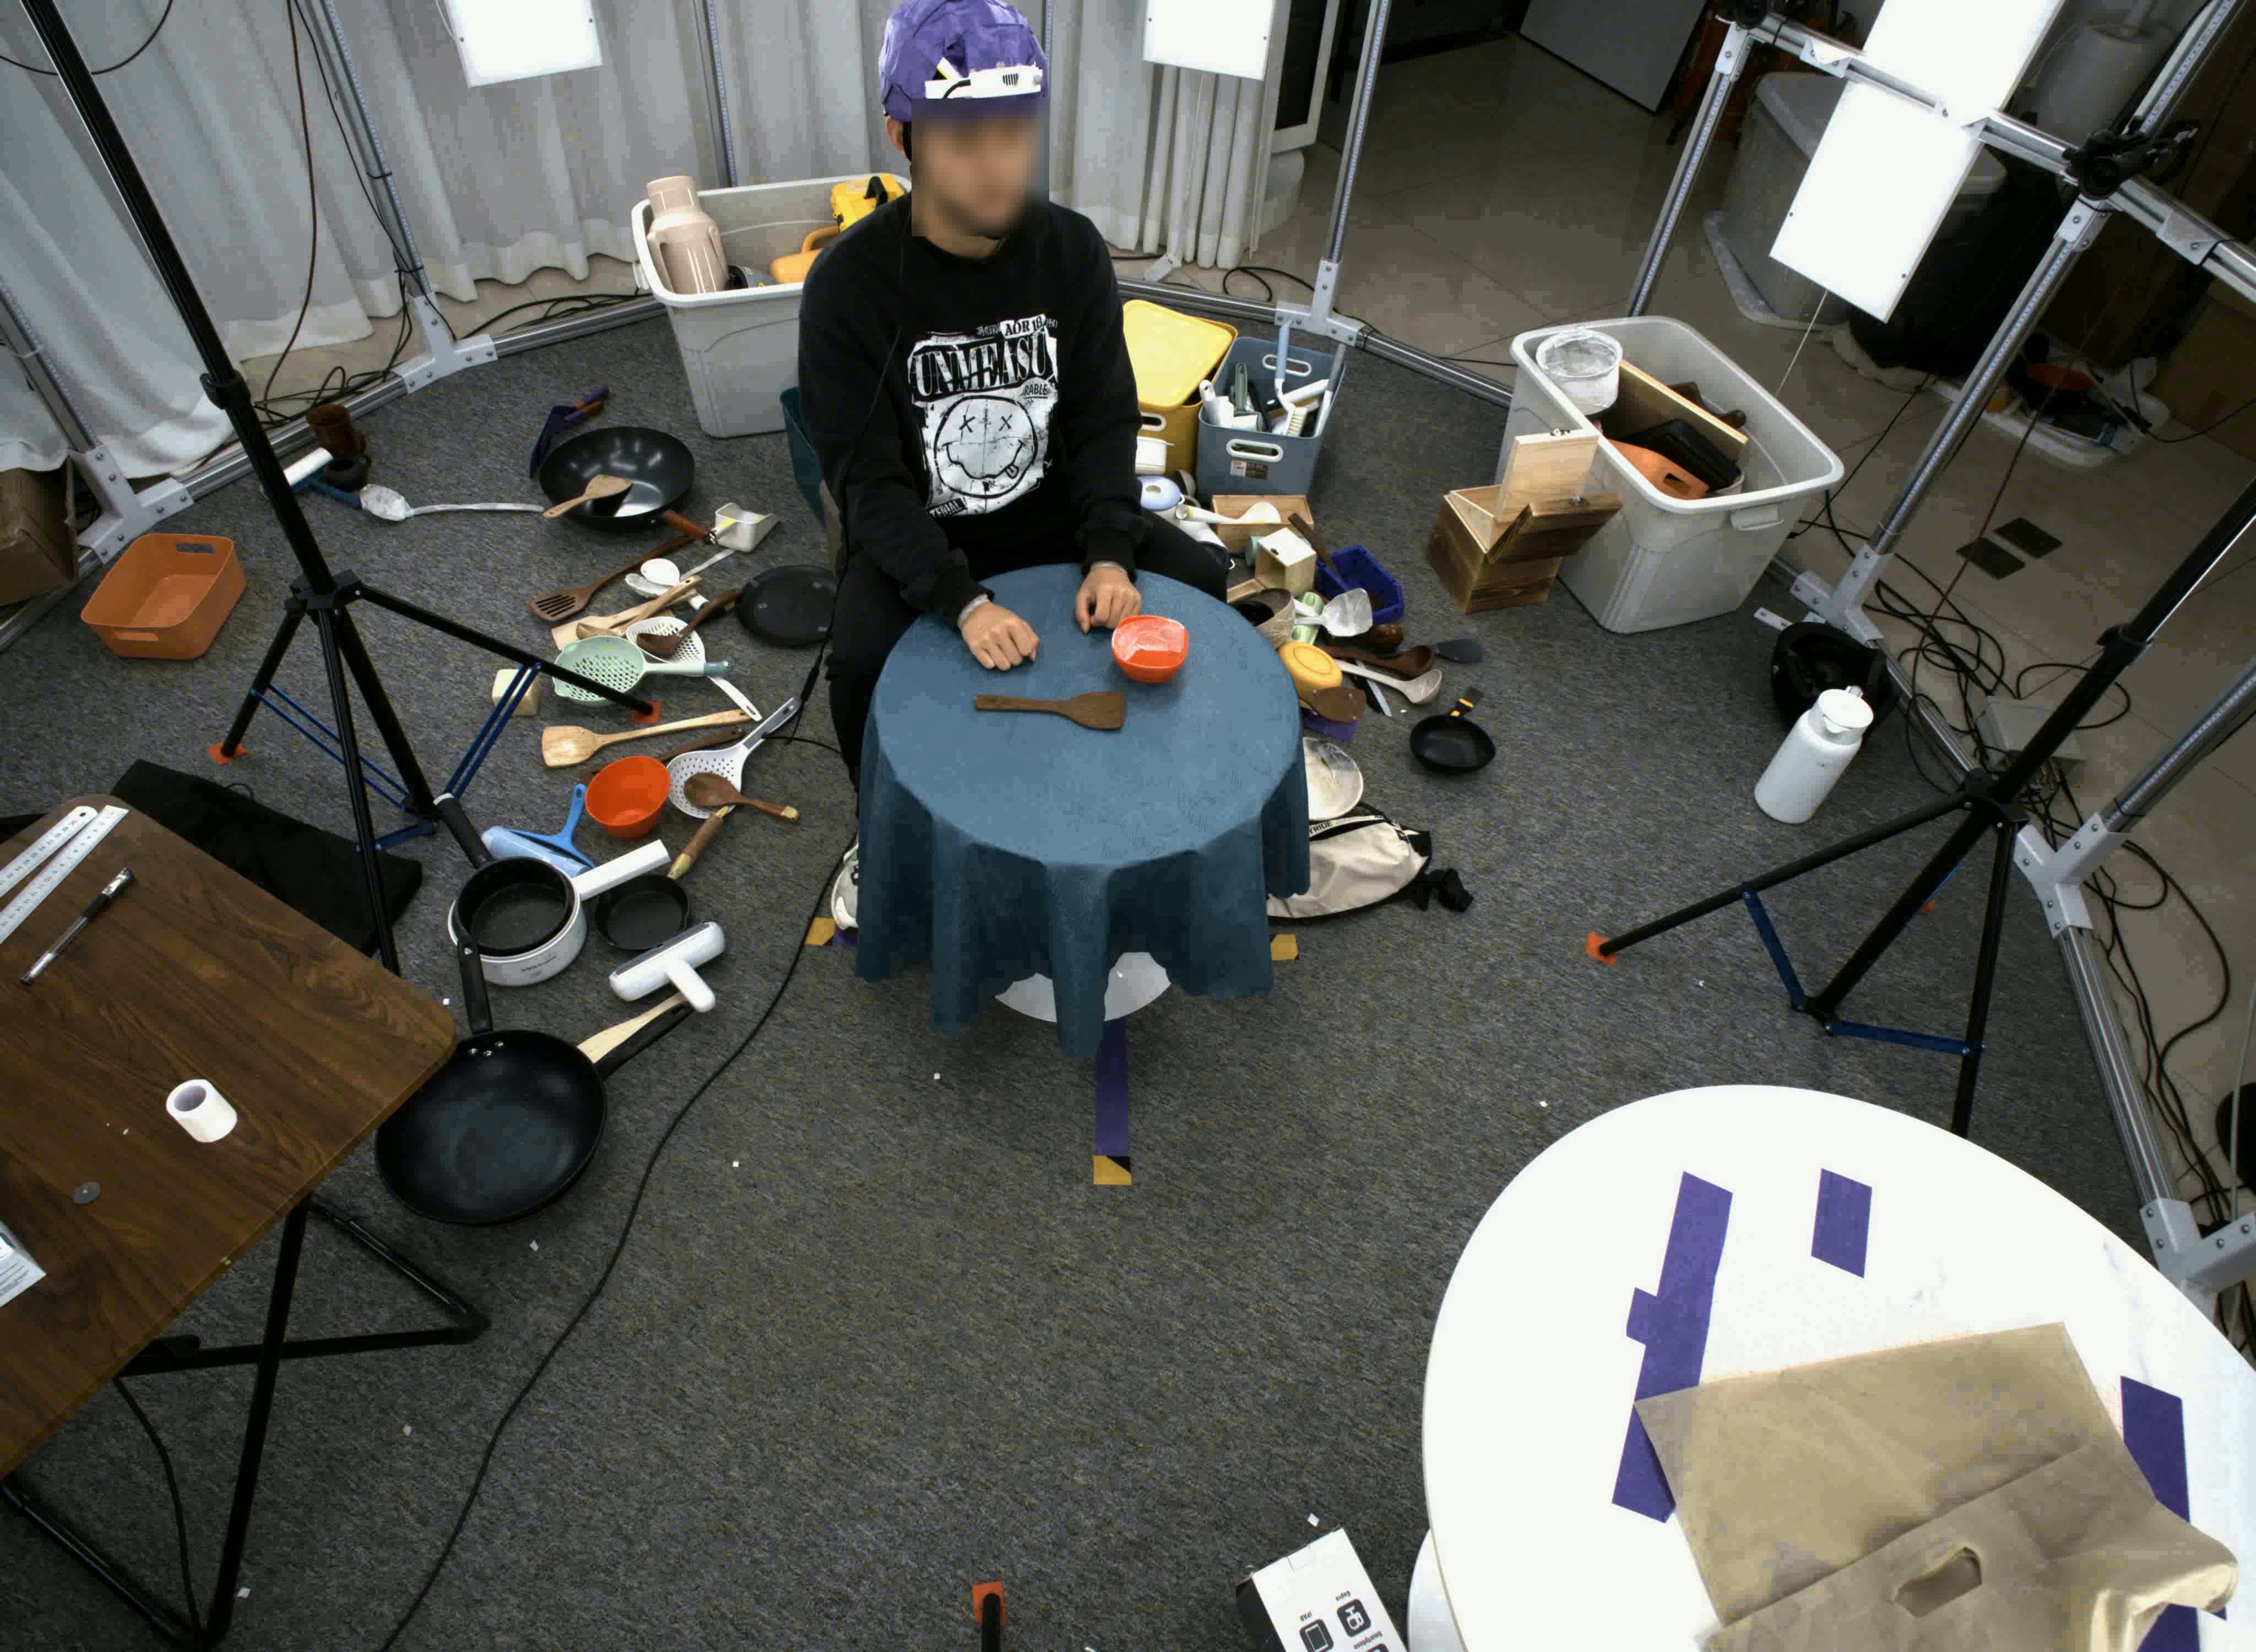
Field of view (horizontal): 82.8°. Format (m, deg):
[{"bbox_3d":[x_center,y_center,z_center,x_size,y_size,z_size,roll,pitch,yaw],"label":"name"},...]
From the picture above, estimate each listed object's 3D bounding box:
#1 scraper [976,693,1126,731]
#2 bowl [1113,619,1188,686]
[{"bbox_3d":[-0.109,-0.167,1.817,0.211,0.010,0.078,4,47,0],"label":"scraper"},{"bbox_3d":[0.032,-0.247,1.871,0.119,0.050,0.122,1,50,-2],"label":"bowl"}]
